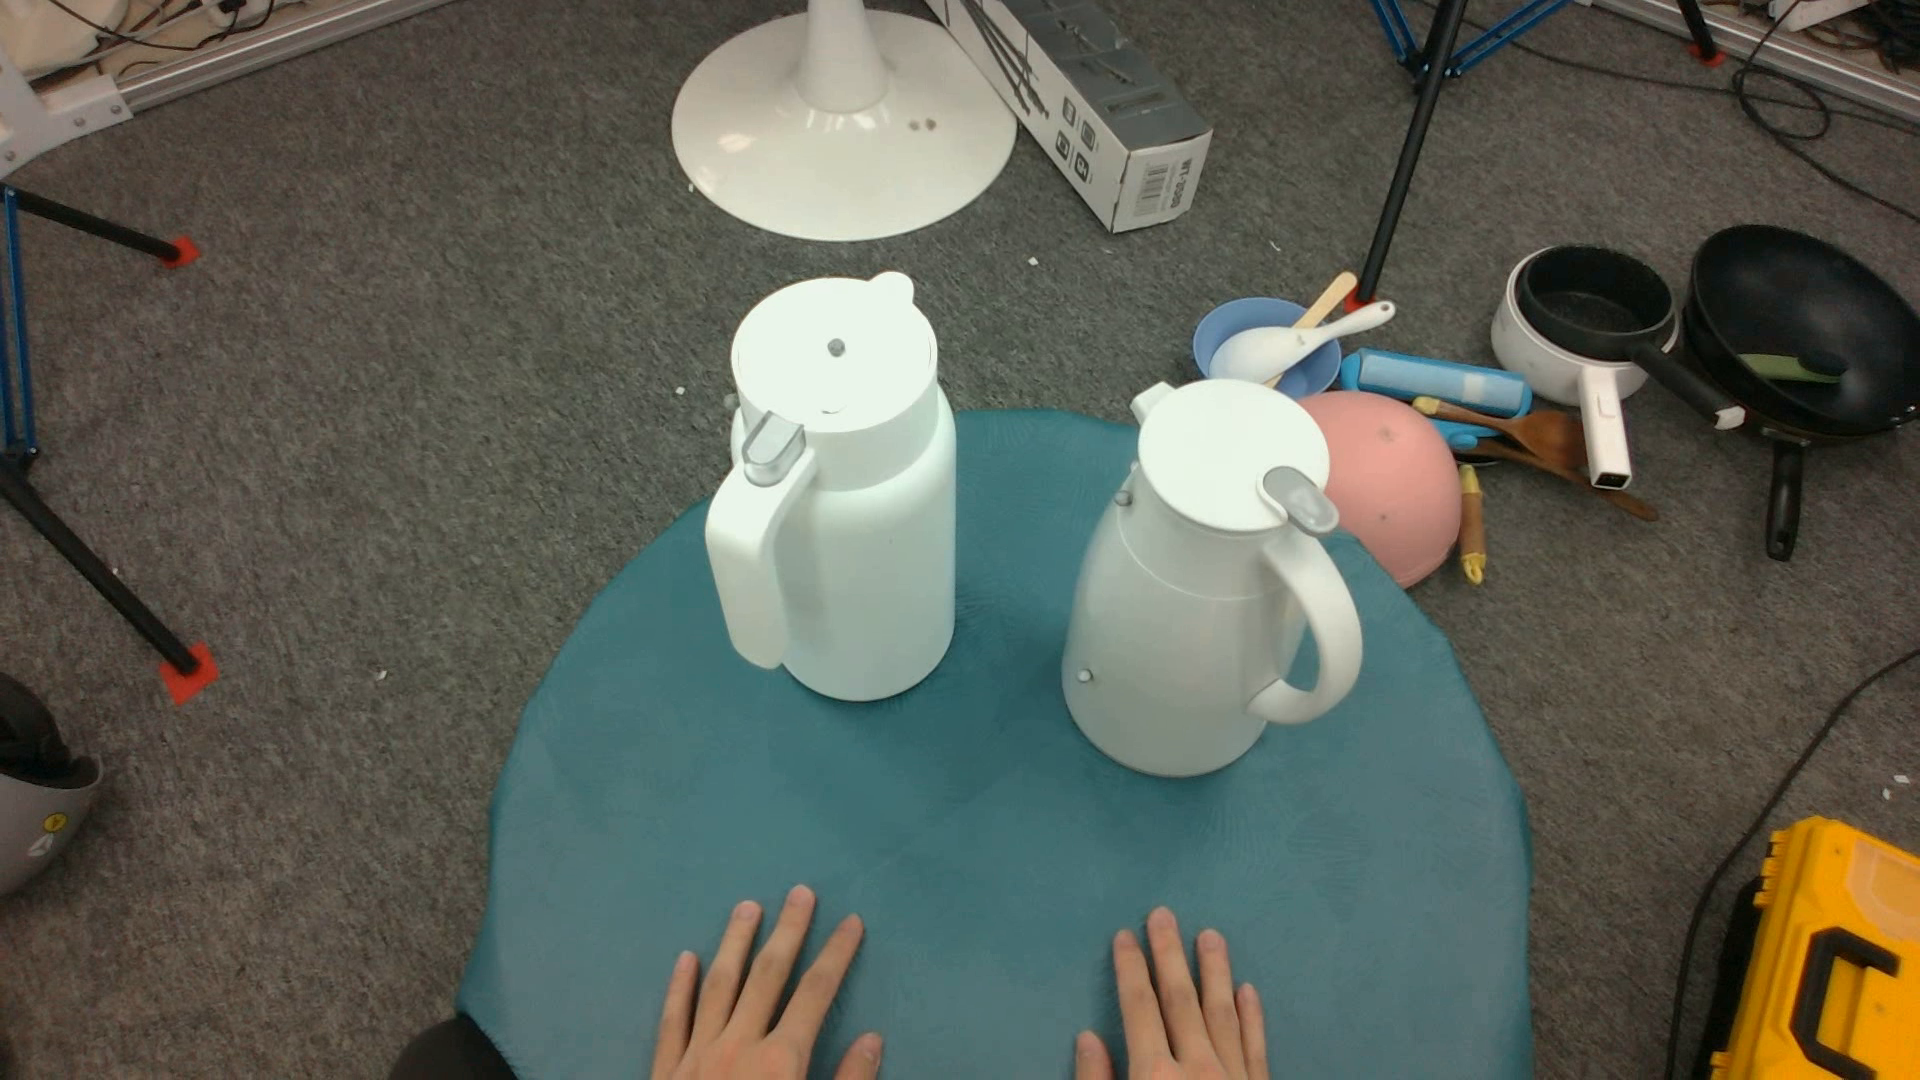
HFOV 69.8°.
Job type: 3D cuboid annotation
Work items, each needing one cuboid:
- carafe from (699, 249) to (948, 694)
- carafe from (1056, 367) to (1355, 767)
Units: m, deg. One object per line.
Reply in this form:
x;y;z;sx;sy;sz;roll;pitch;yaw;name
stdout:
-0.072;-0.010;0.755;0.124;0.267;0.173;23;59;11;carafe
0.138;0.027;0.747;0.133;0.247;0.168;-32;64;-20;carafe
